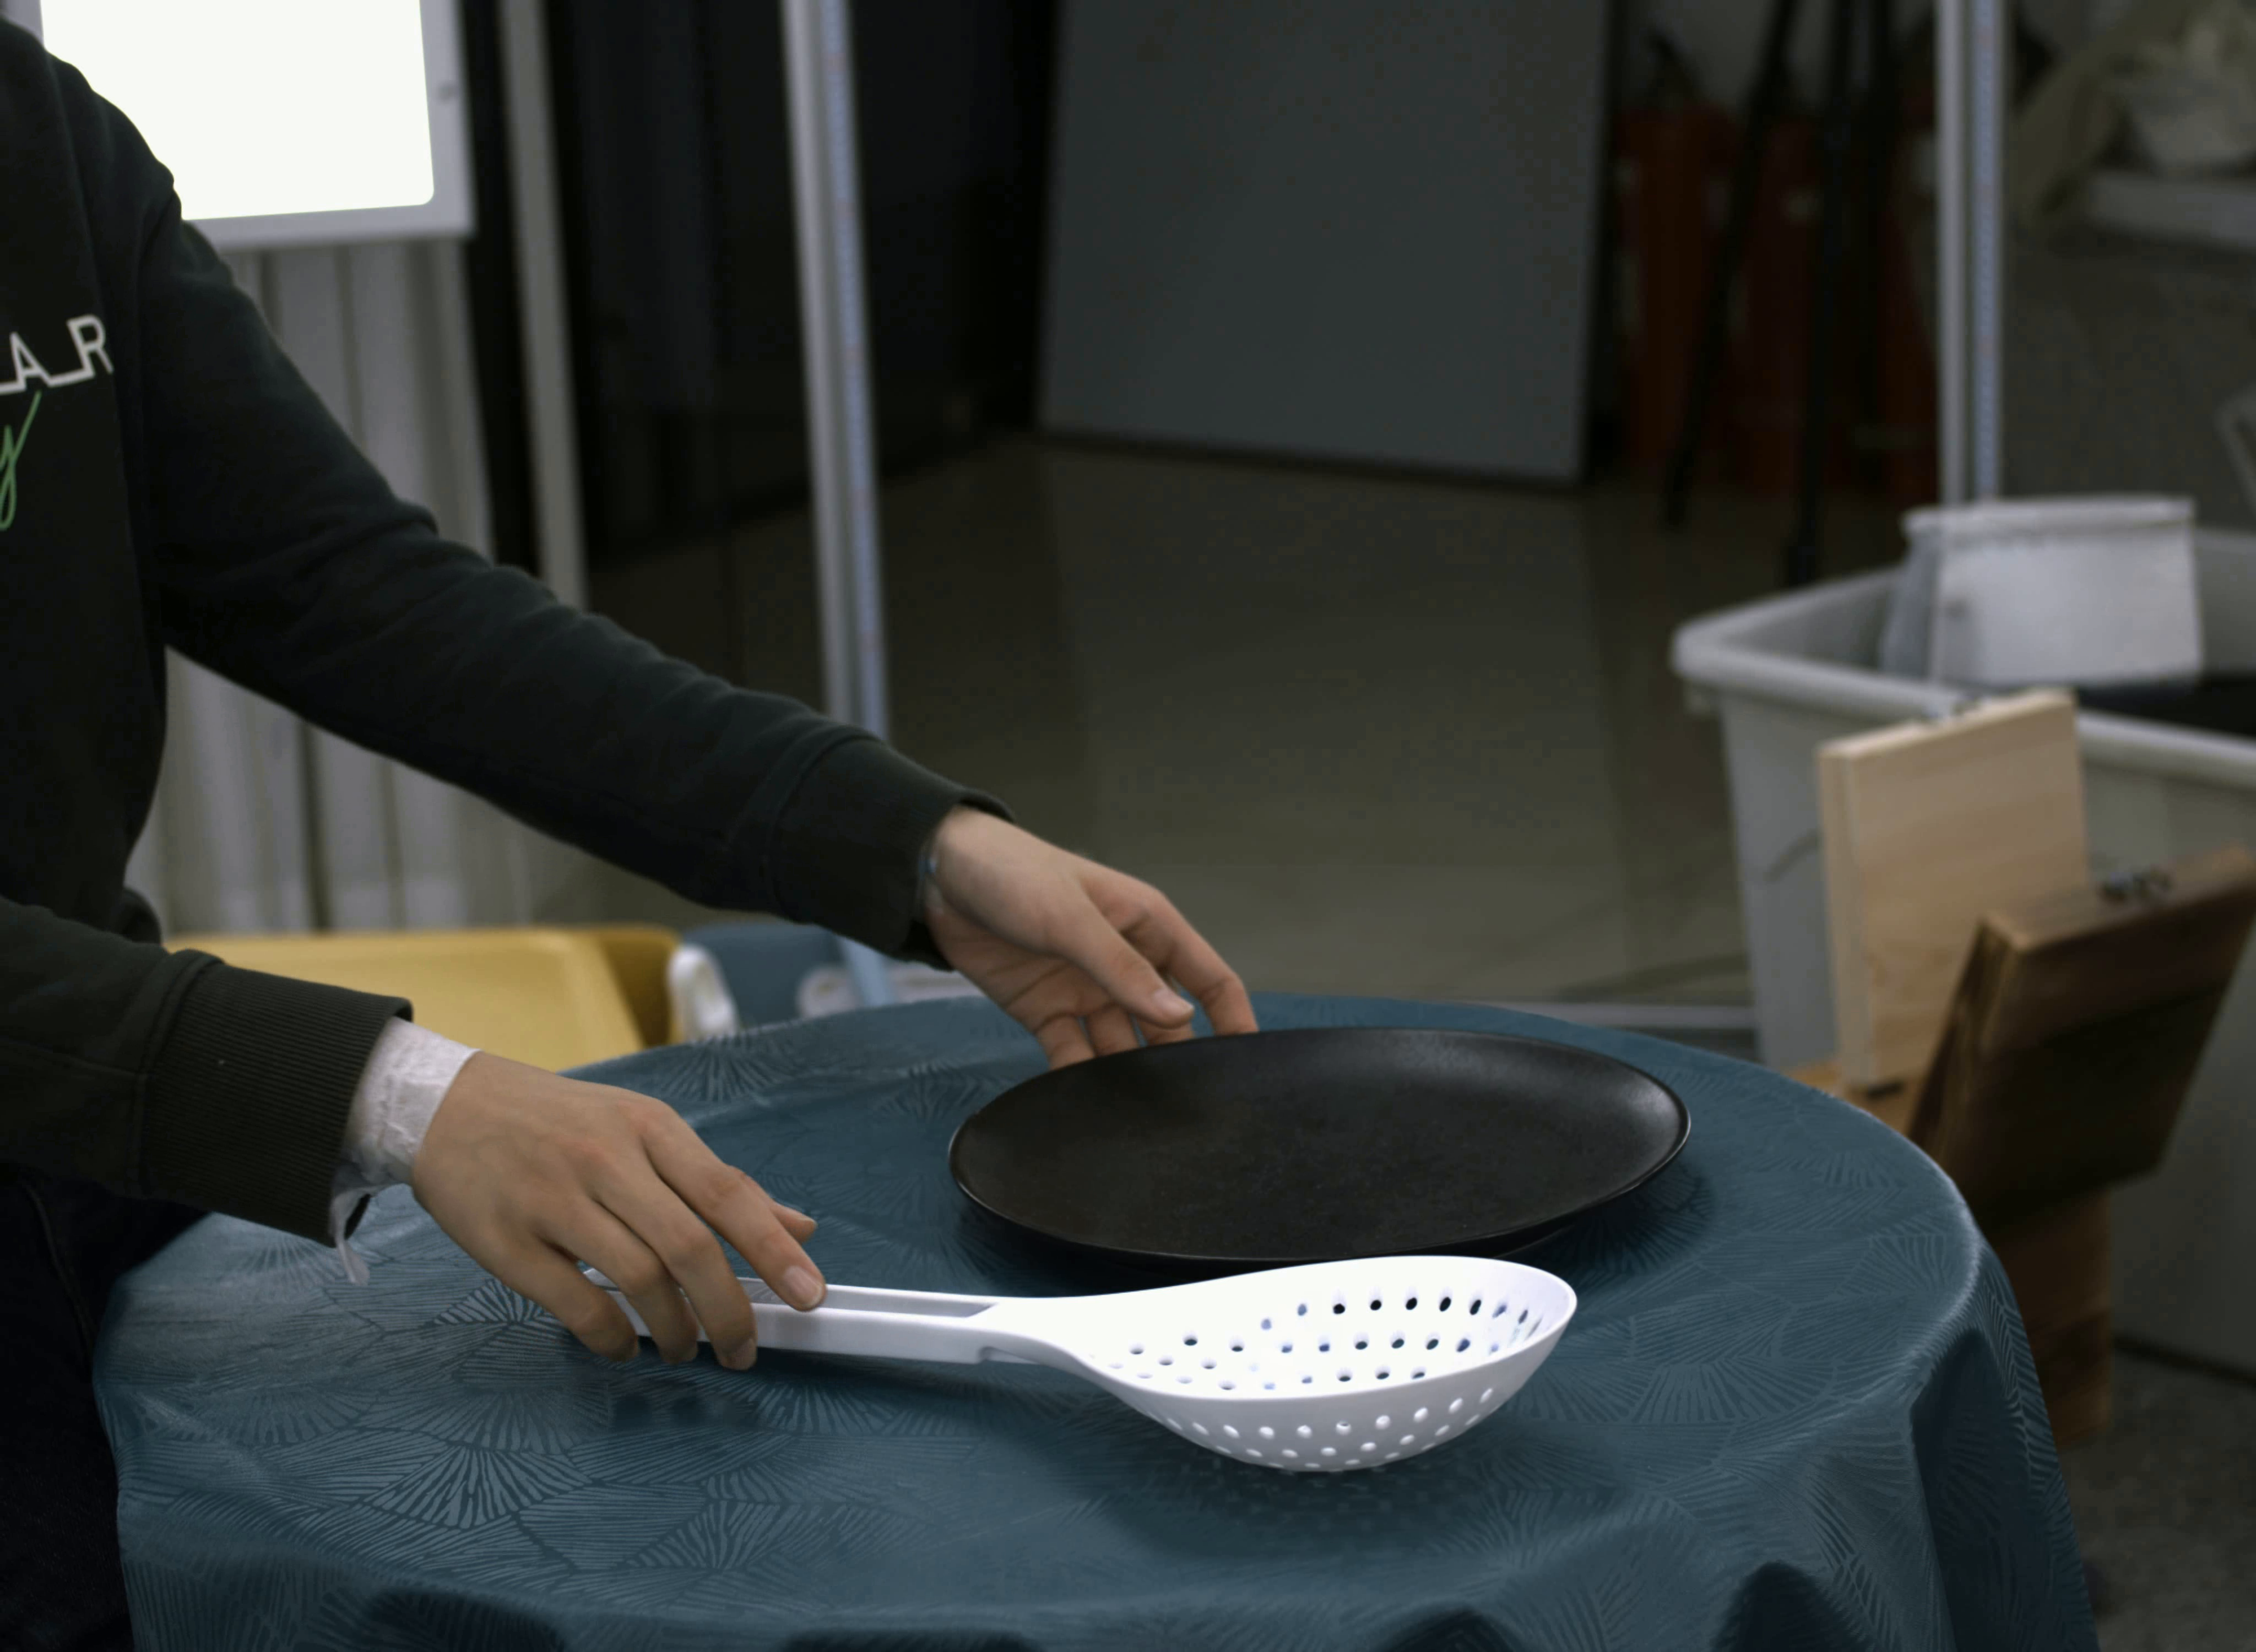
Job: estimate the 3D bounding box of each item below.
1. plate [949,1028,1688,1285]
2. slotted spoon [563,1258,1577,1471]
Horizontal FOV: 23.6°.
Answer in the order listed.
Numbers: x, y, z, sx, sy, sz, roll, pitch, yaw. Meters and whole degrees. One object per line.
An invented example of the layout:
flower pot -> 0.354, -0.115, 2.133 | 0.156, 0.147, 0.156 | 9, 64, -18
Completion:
plate -> 0.062, 0.110, 1.749 | 0.241, 0.024, 0.245 | -4, 14, 0
slotted spoon -> -0.027, 0.148, 1.577 | 0.352, 0.046, 0.133 | 5, 14, 35
